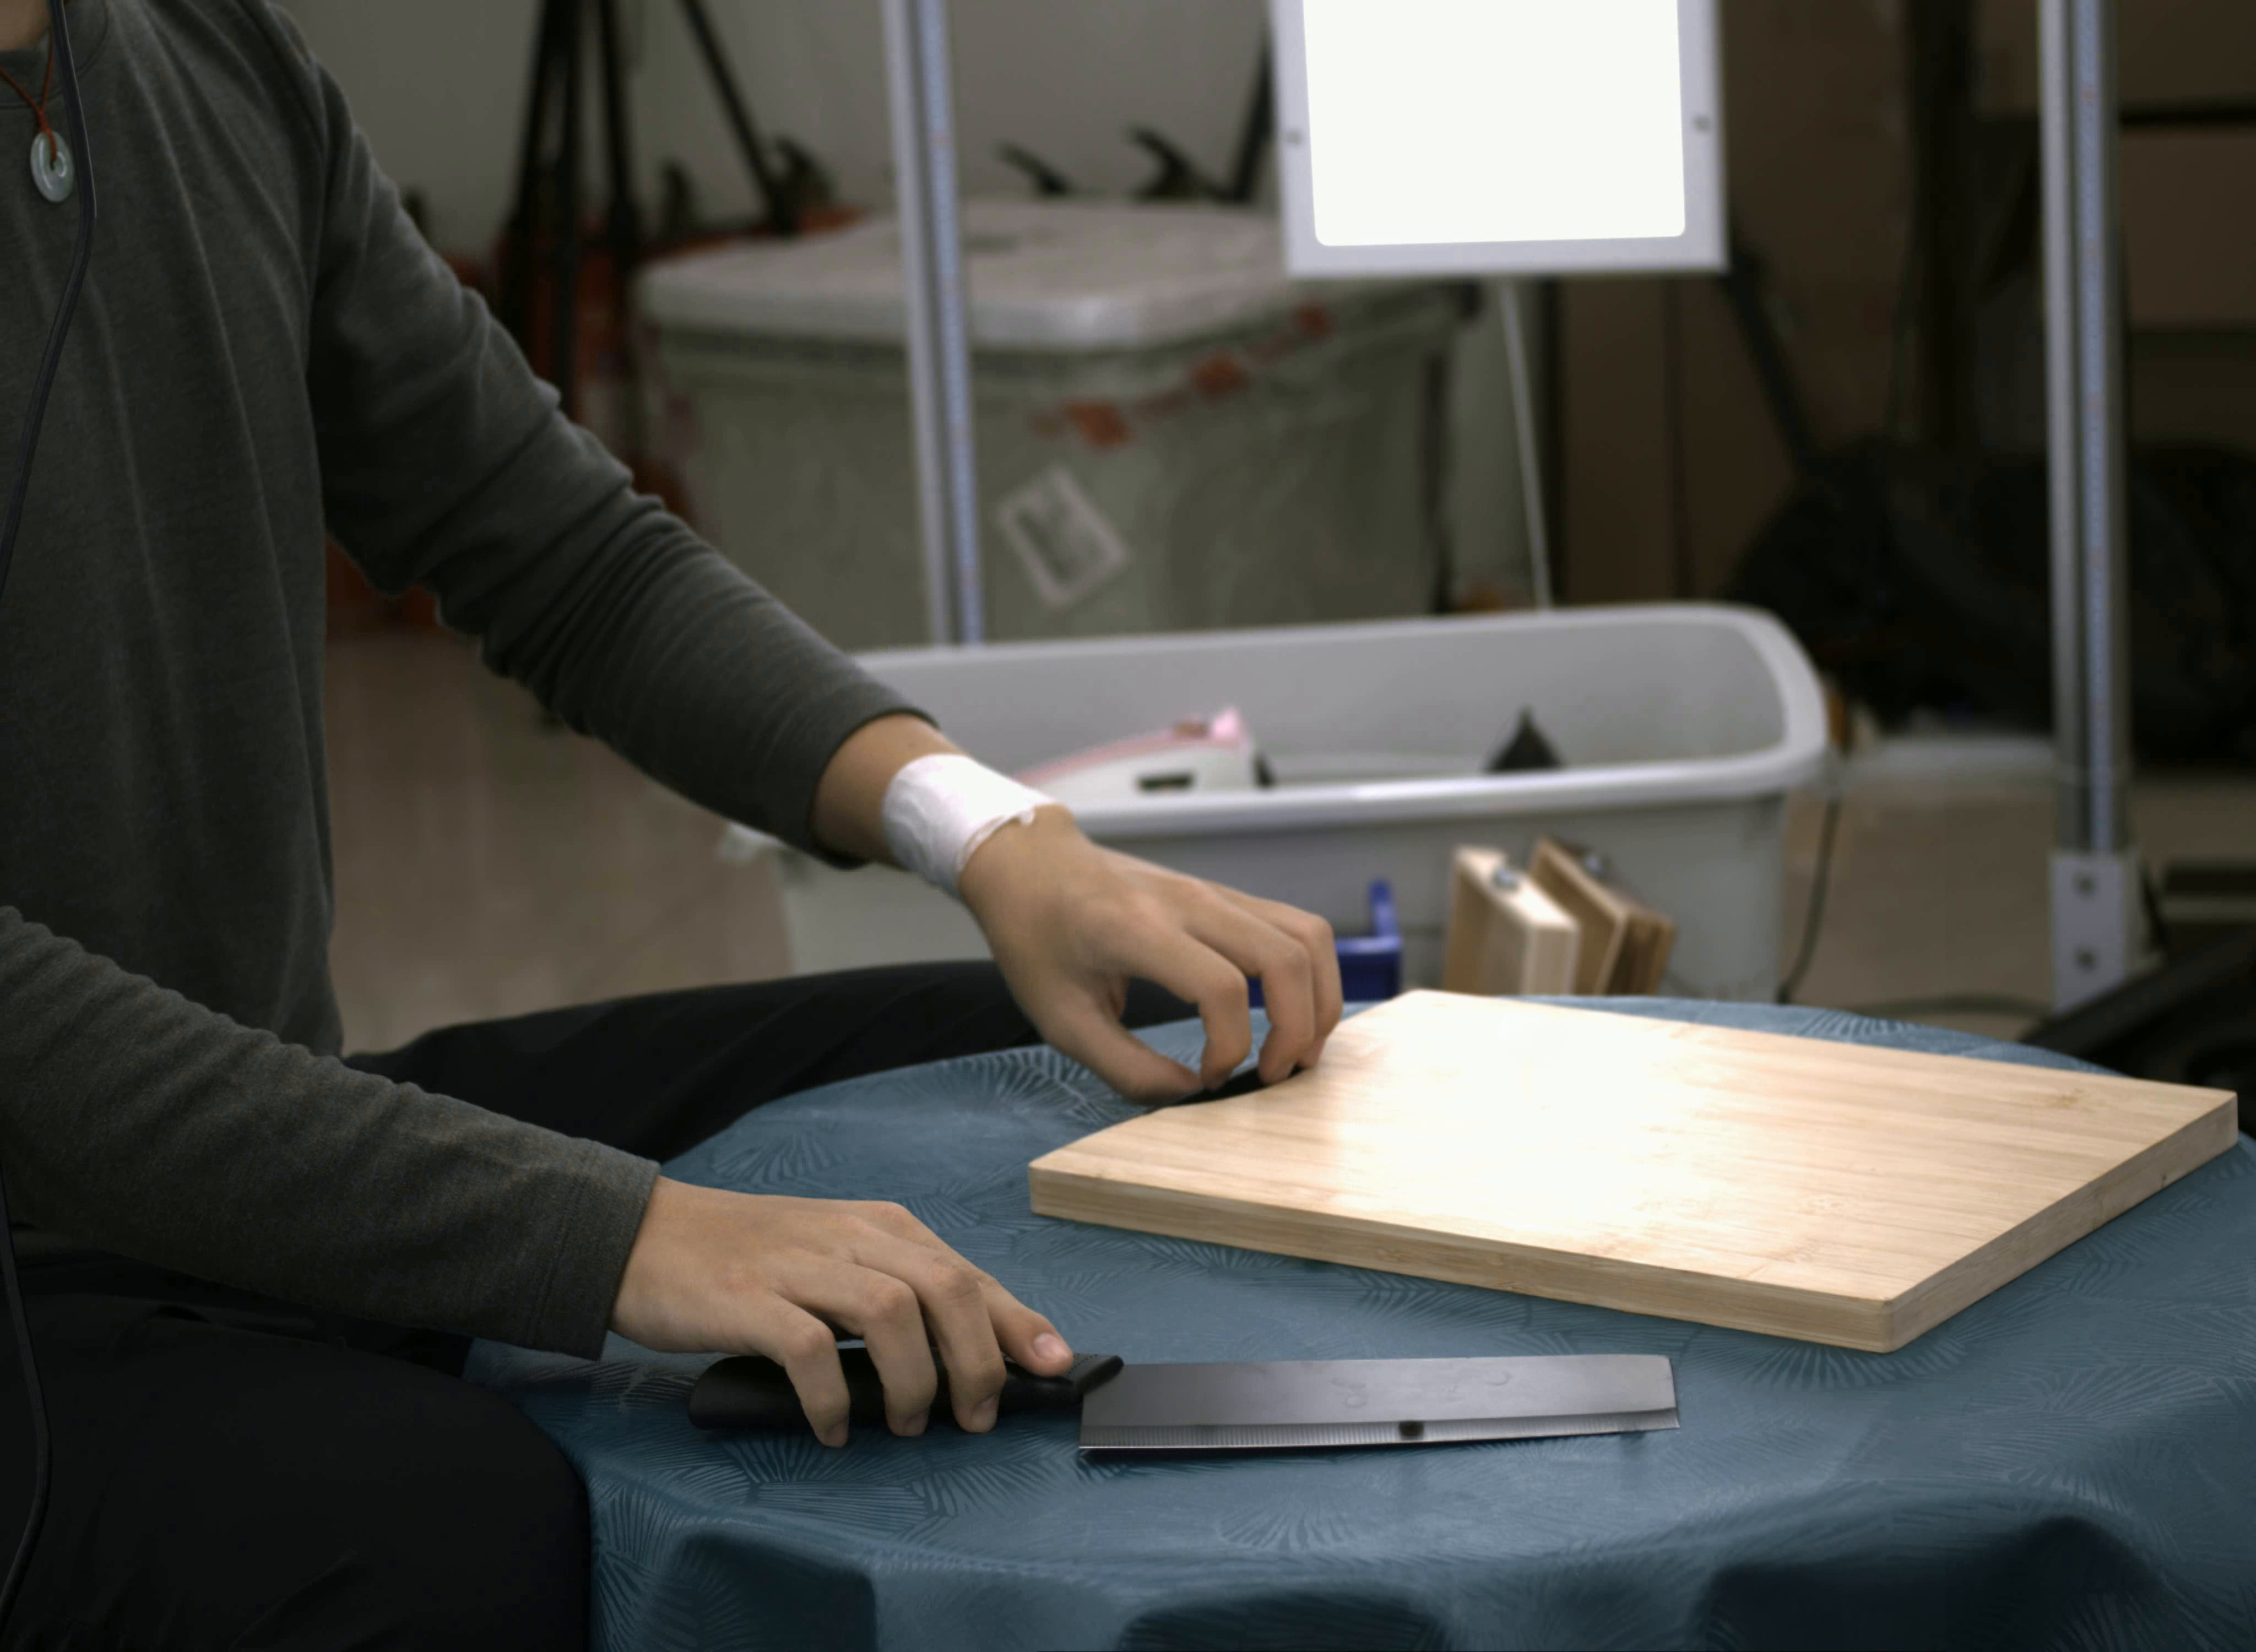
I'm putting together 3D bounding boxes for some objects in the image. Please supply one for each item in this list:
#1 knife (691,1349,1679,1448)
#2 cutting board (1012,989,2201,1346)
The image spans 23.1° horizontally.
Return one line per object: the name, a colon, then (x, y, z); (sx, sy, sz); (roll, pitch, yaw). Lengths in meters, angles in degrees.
knife: (0.017, 0.174, 1.674); (0.304, 0.021, 0.080); (-1, 15, 10)
cutting board: (0.167, 0.111, 1.871); (0.356, 0.023, 0.244); (6, 17, 38)
